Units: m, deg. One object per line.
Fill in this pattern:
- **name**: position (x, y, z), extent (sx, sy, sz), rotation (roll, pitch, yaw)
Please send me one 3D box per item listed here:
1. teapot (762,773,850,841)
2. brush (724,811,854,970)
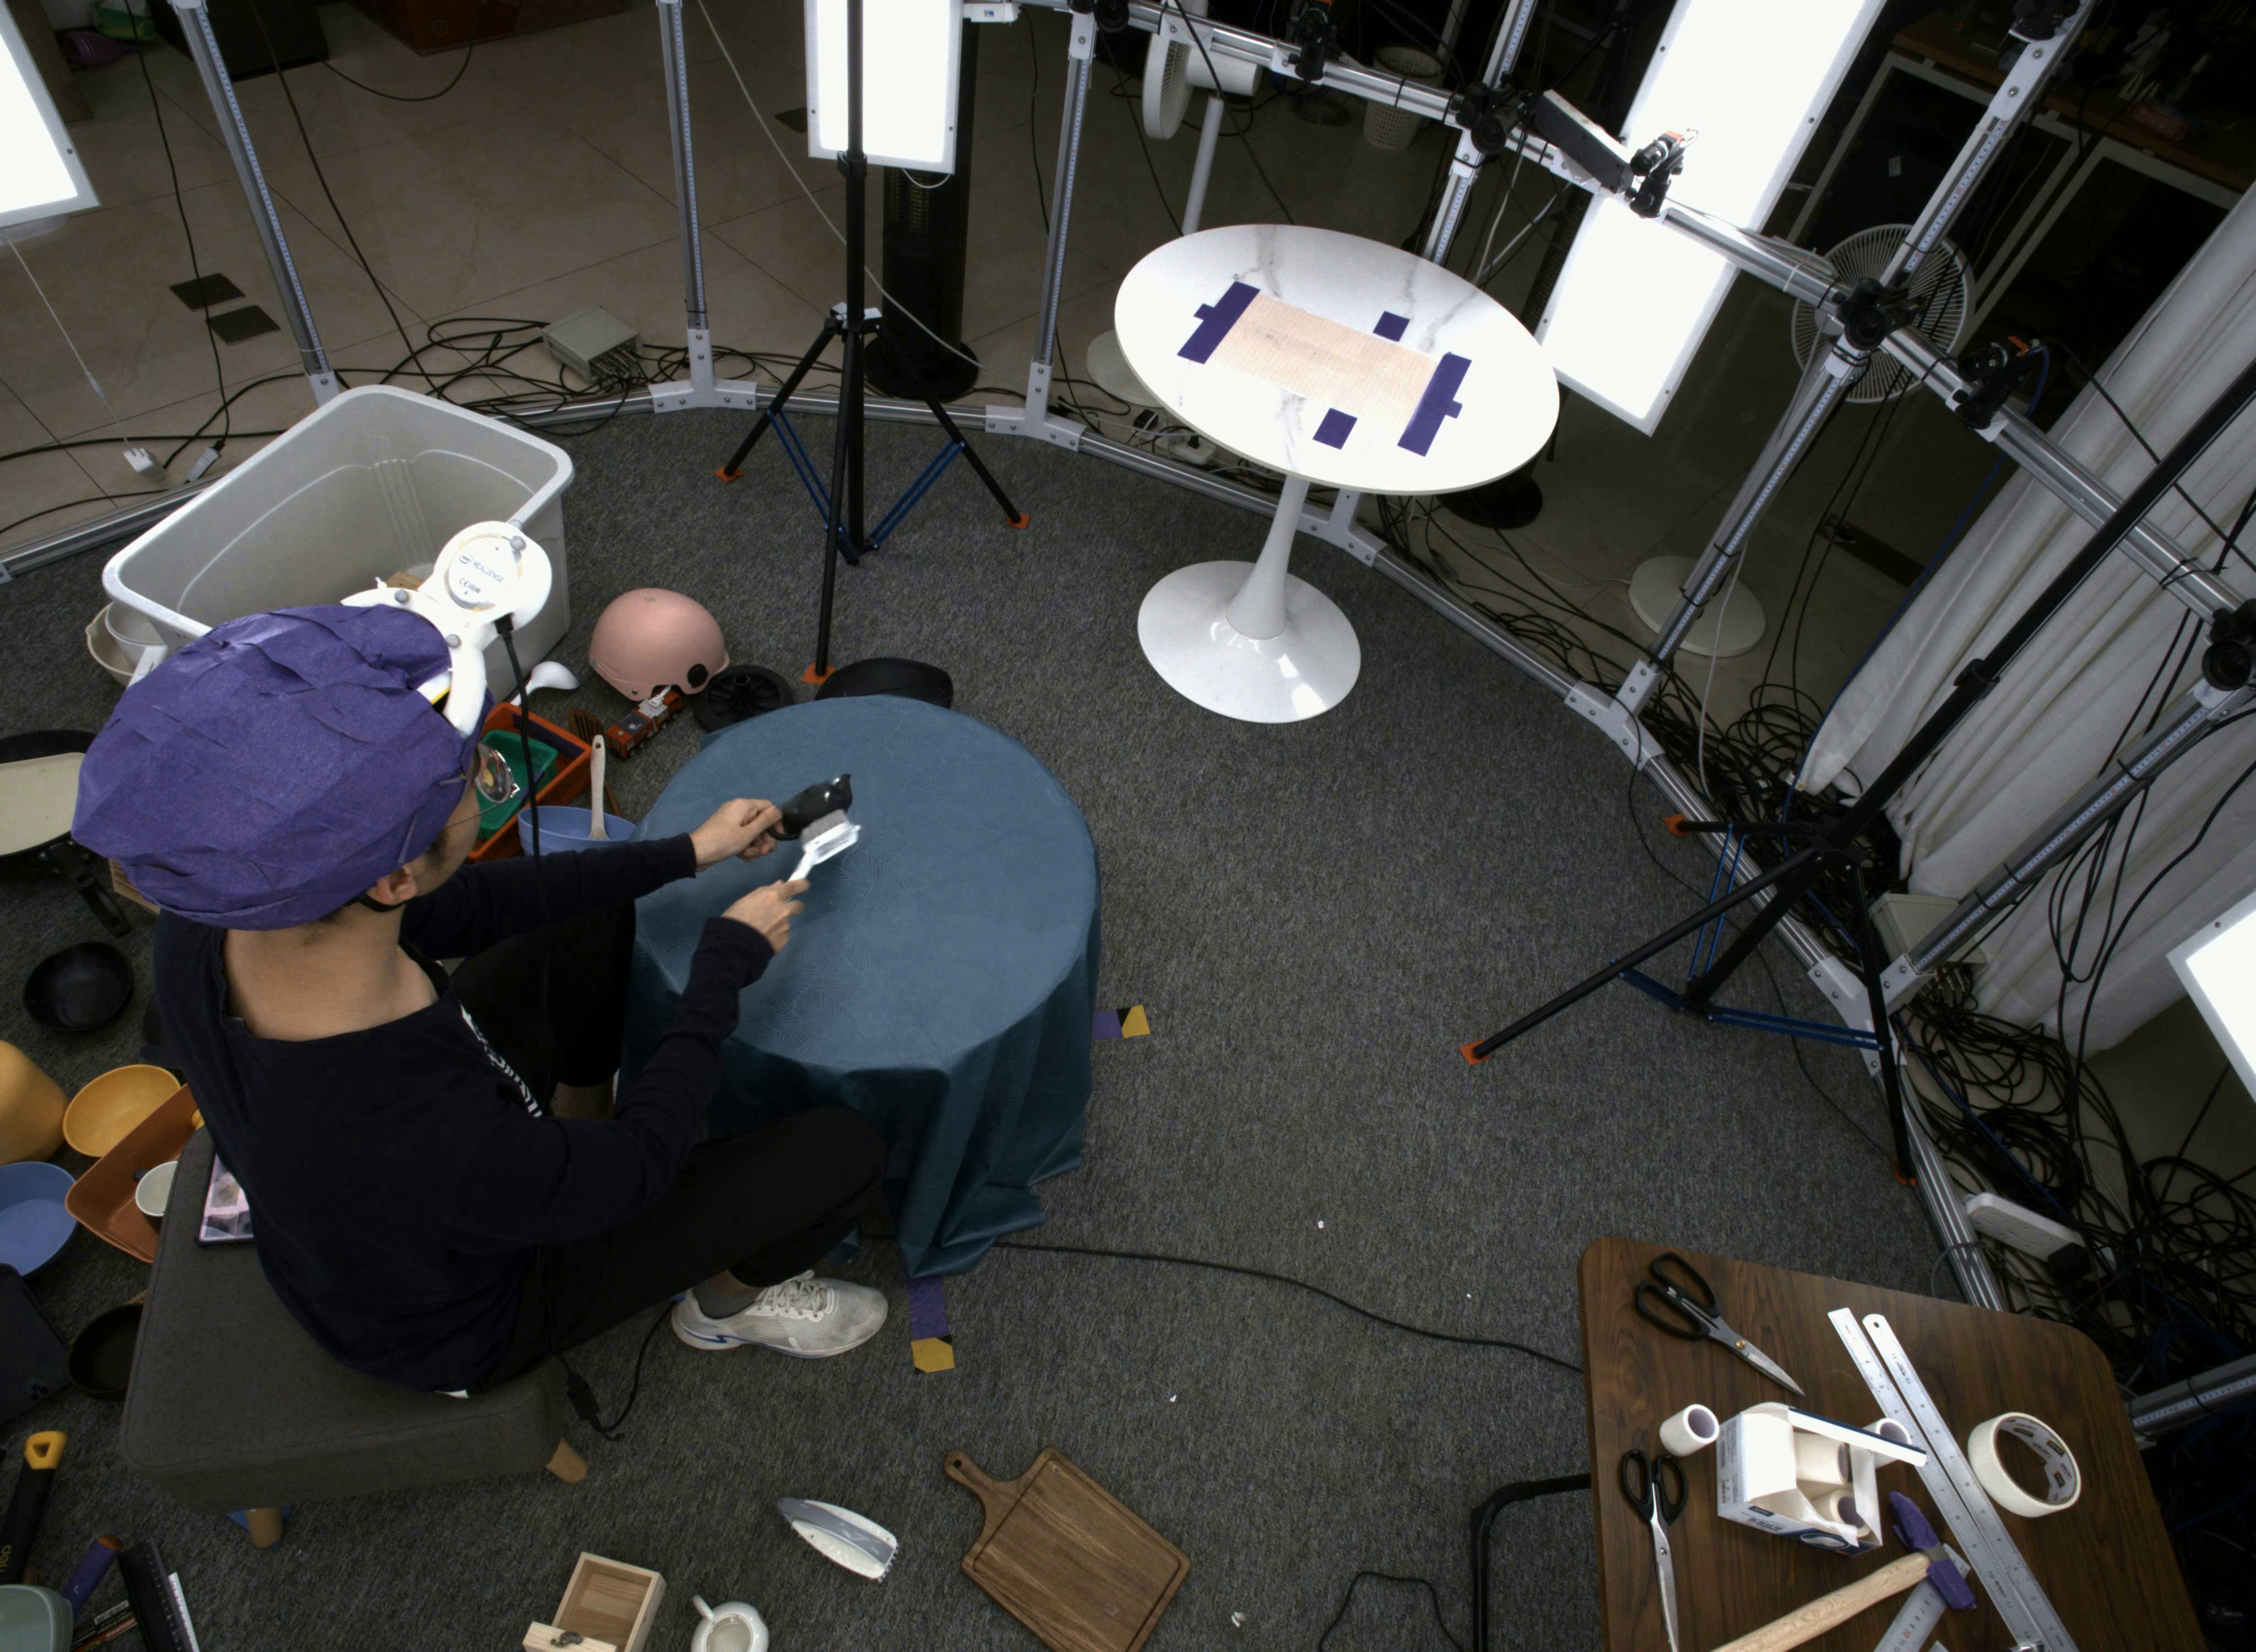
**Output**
- **teapot**: position (-0.400, -0.020, 1.643), extent (0.133, 0.090, 0.053), rotation (-31, 87, -33)
- **brush**: position (-0.417, 0.071, 1.556), extent (0.049, 0.035, 0.243), rotation (27, 55, 16)
